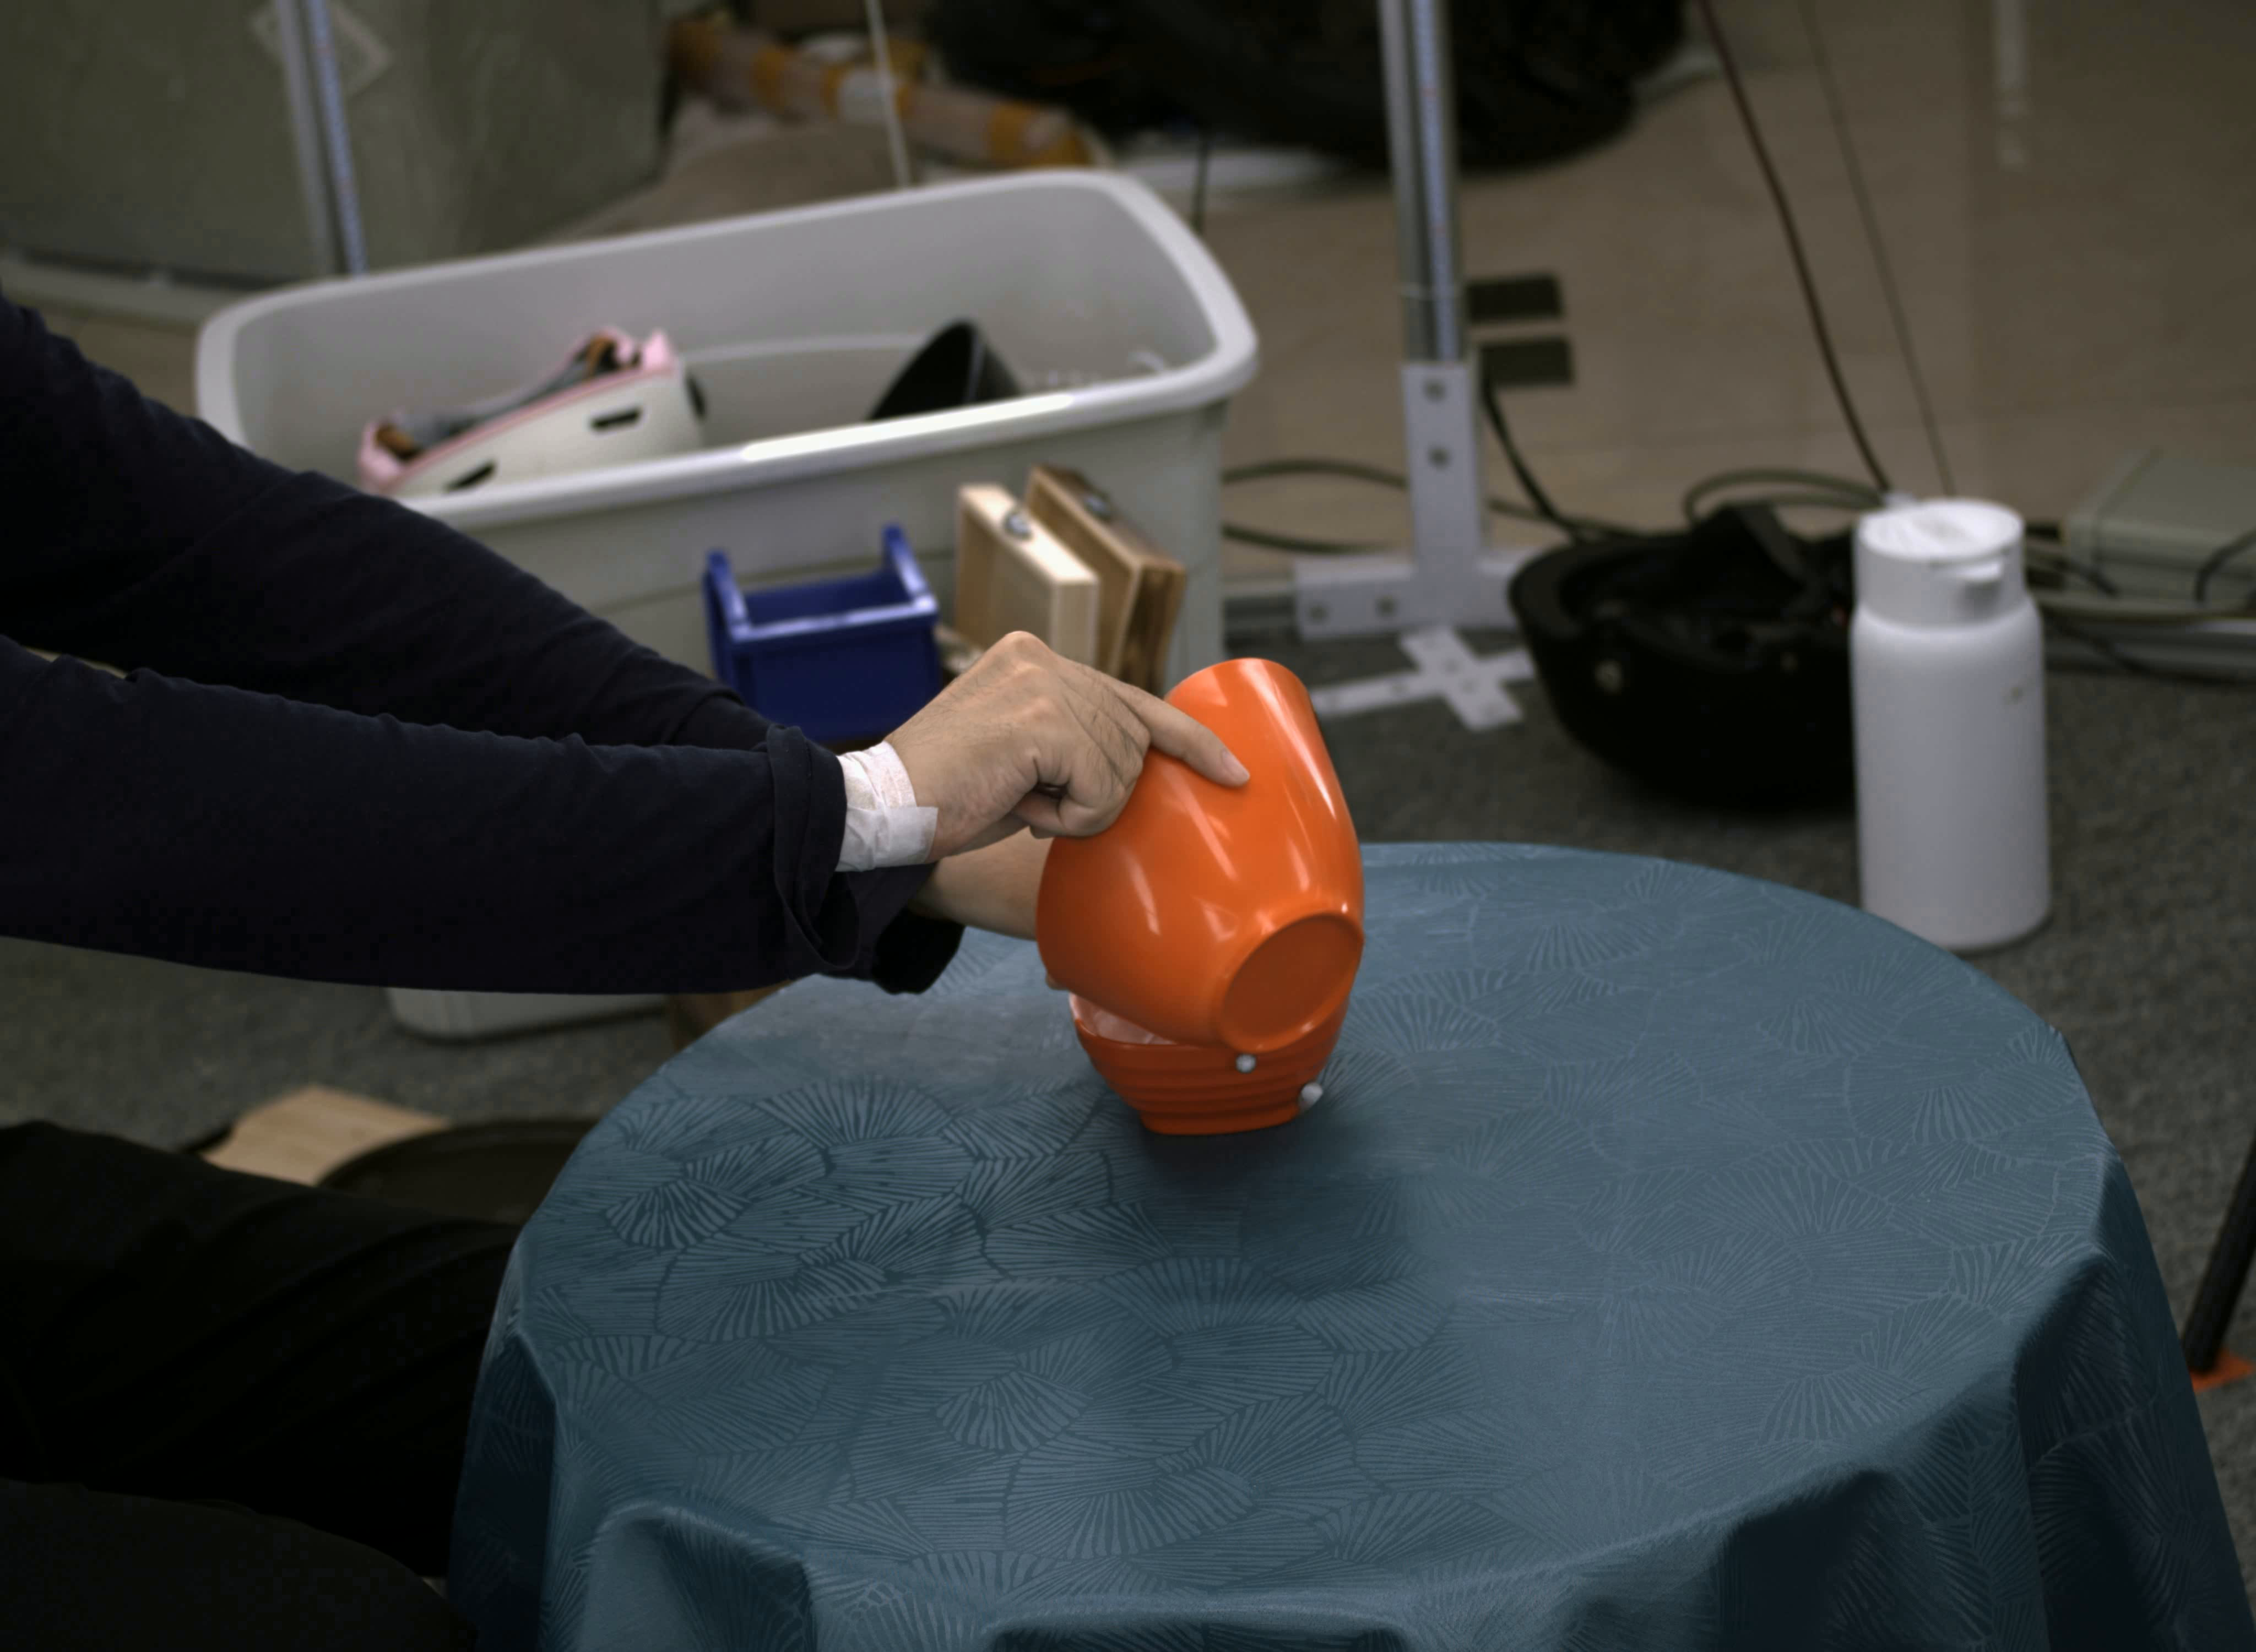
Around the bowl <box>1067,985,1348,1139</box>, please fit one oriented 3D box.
[{"bbox_3d":[0.034,0.083,2.206,0.119,0.052,0.117,-7,26,3],"label":"bowl"}]

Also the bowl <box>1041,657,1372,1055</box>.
[{"bbox_3d":[0.044,0.024,2.130,0.147,0.151,0.103,-21,47,-29],"label":"bowl"}]
